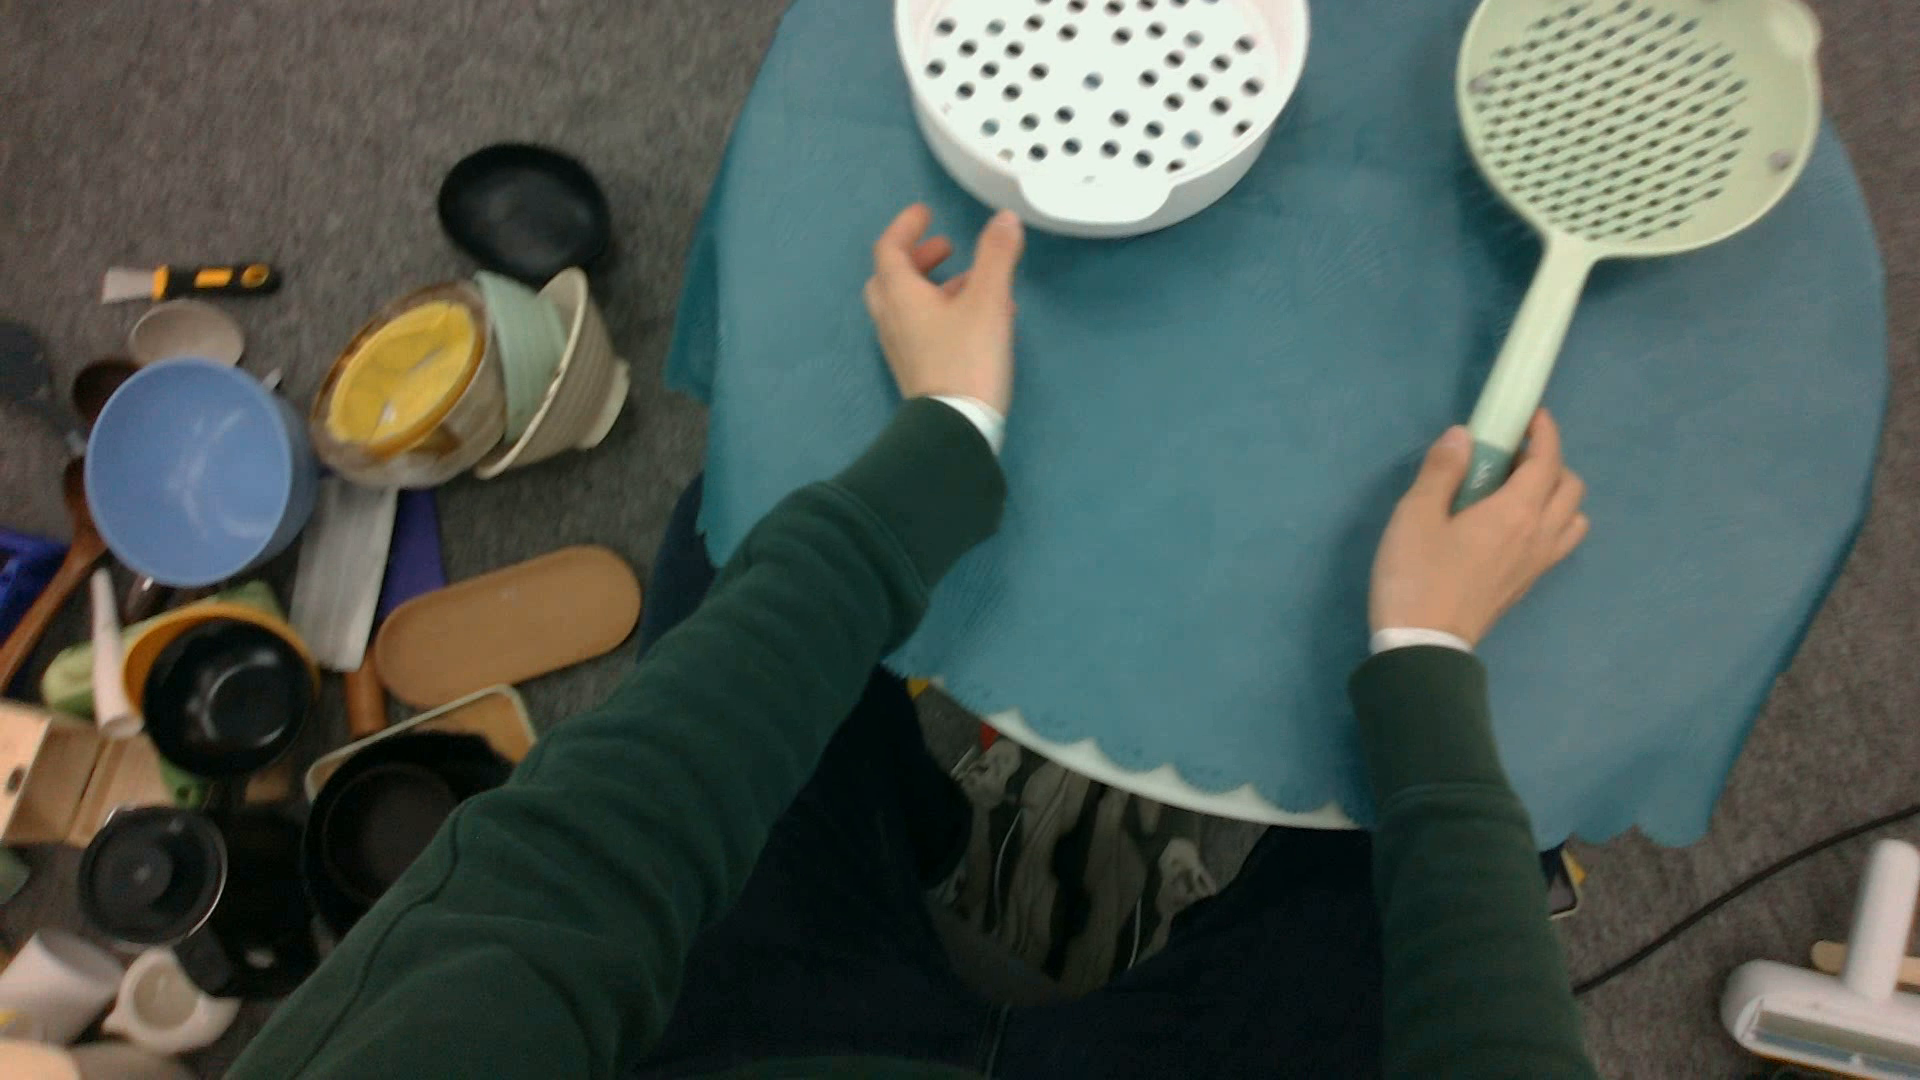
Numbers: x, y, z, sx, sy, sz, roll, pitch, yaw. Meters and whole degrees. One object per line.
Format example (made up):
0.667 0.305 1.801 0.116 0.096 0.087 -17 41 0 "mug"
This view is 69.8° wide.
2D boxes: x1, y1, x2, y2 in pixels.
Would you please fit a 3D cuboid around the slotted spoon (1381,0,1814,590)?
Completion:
0.286 -0.142 0.672 0.169 0.075 0.359 24 76 8 "slotted spoon"

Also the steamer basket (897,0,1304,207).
0.069 -0.269 0.705 0.202 0.069 0.231 3 76 2 "steamer basket"
